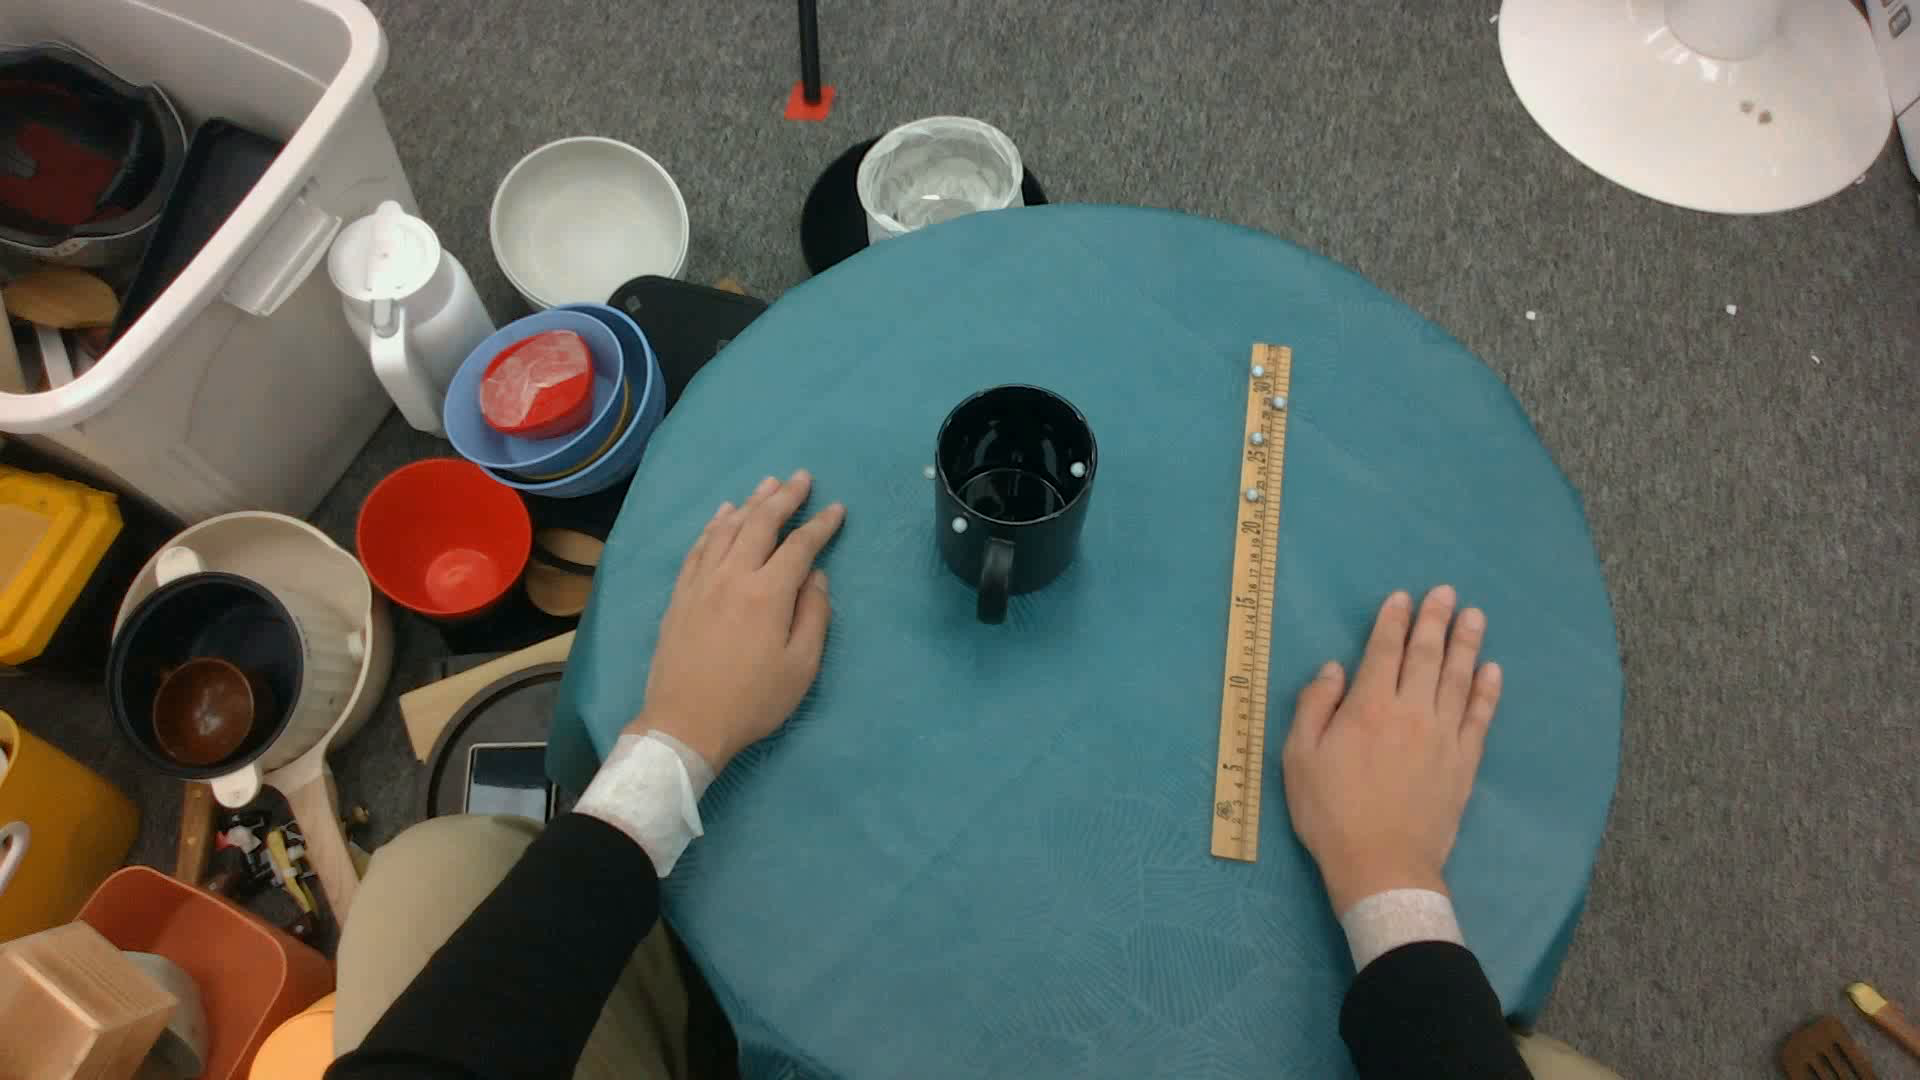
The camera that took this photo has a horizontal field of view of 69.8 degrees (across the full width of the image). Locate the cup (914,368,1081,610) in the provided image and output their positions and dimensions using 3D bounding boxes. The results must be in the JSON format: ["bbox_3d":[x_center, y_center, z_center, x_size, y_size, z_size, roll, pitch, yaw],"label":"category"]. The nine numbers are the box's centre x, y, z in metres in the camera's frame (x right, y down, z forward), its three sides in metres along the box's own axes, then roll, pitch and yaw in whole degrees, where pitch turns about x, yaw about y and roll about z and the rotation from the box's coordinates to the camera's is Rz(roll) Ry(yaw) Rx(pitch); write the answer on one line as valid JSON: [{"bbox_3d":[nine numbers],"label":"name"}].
[{"bbox_3d":[0.016,-0.020,0.776,0.088,0.105,0.124,11,66,1],"label":"cup"}]

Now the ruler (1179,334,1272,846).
[{"bbox_3d":[0.161,0.015,0.816,0.027,0.022,0.333,8,65,7],"label":"ruler"}]
